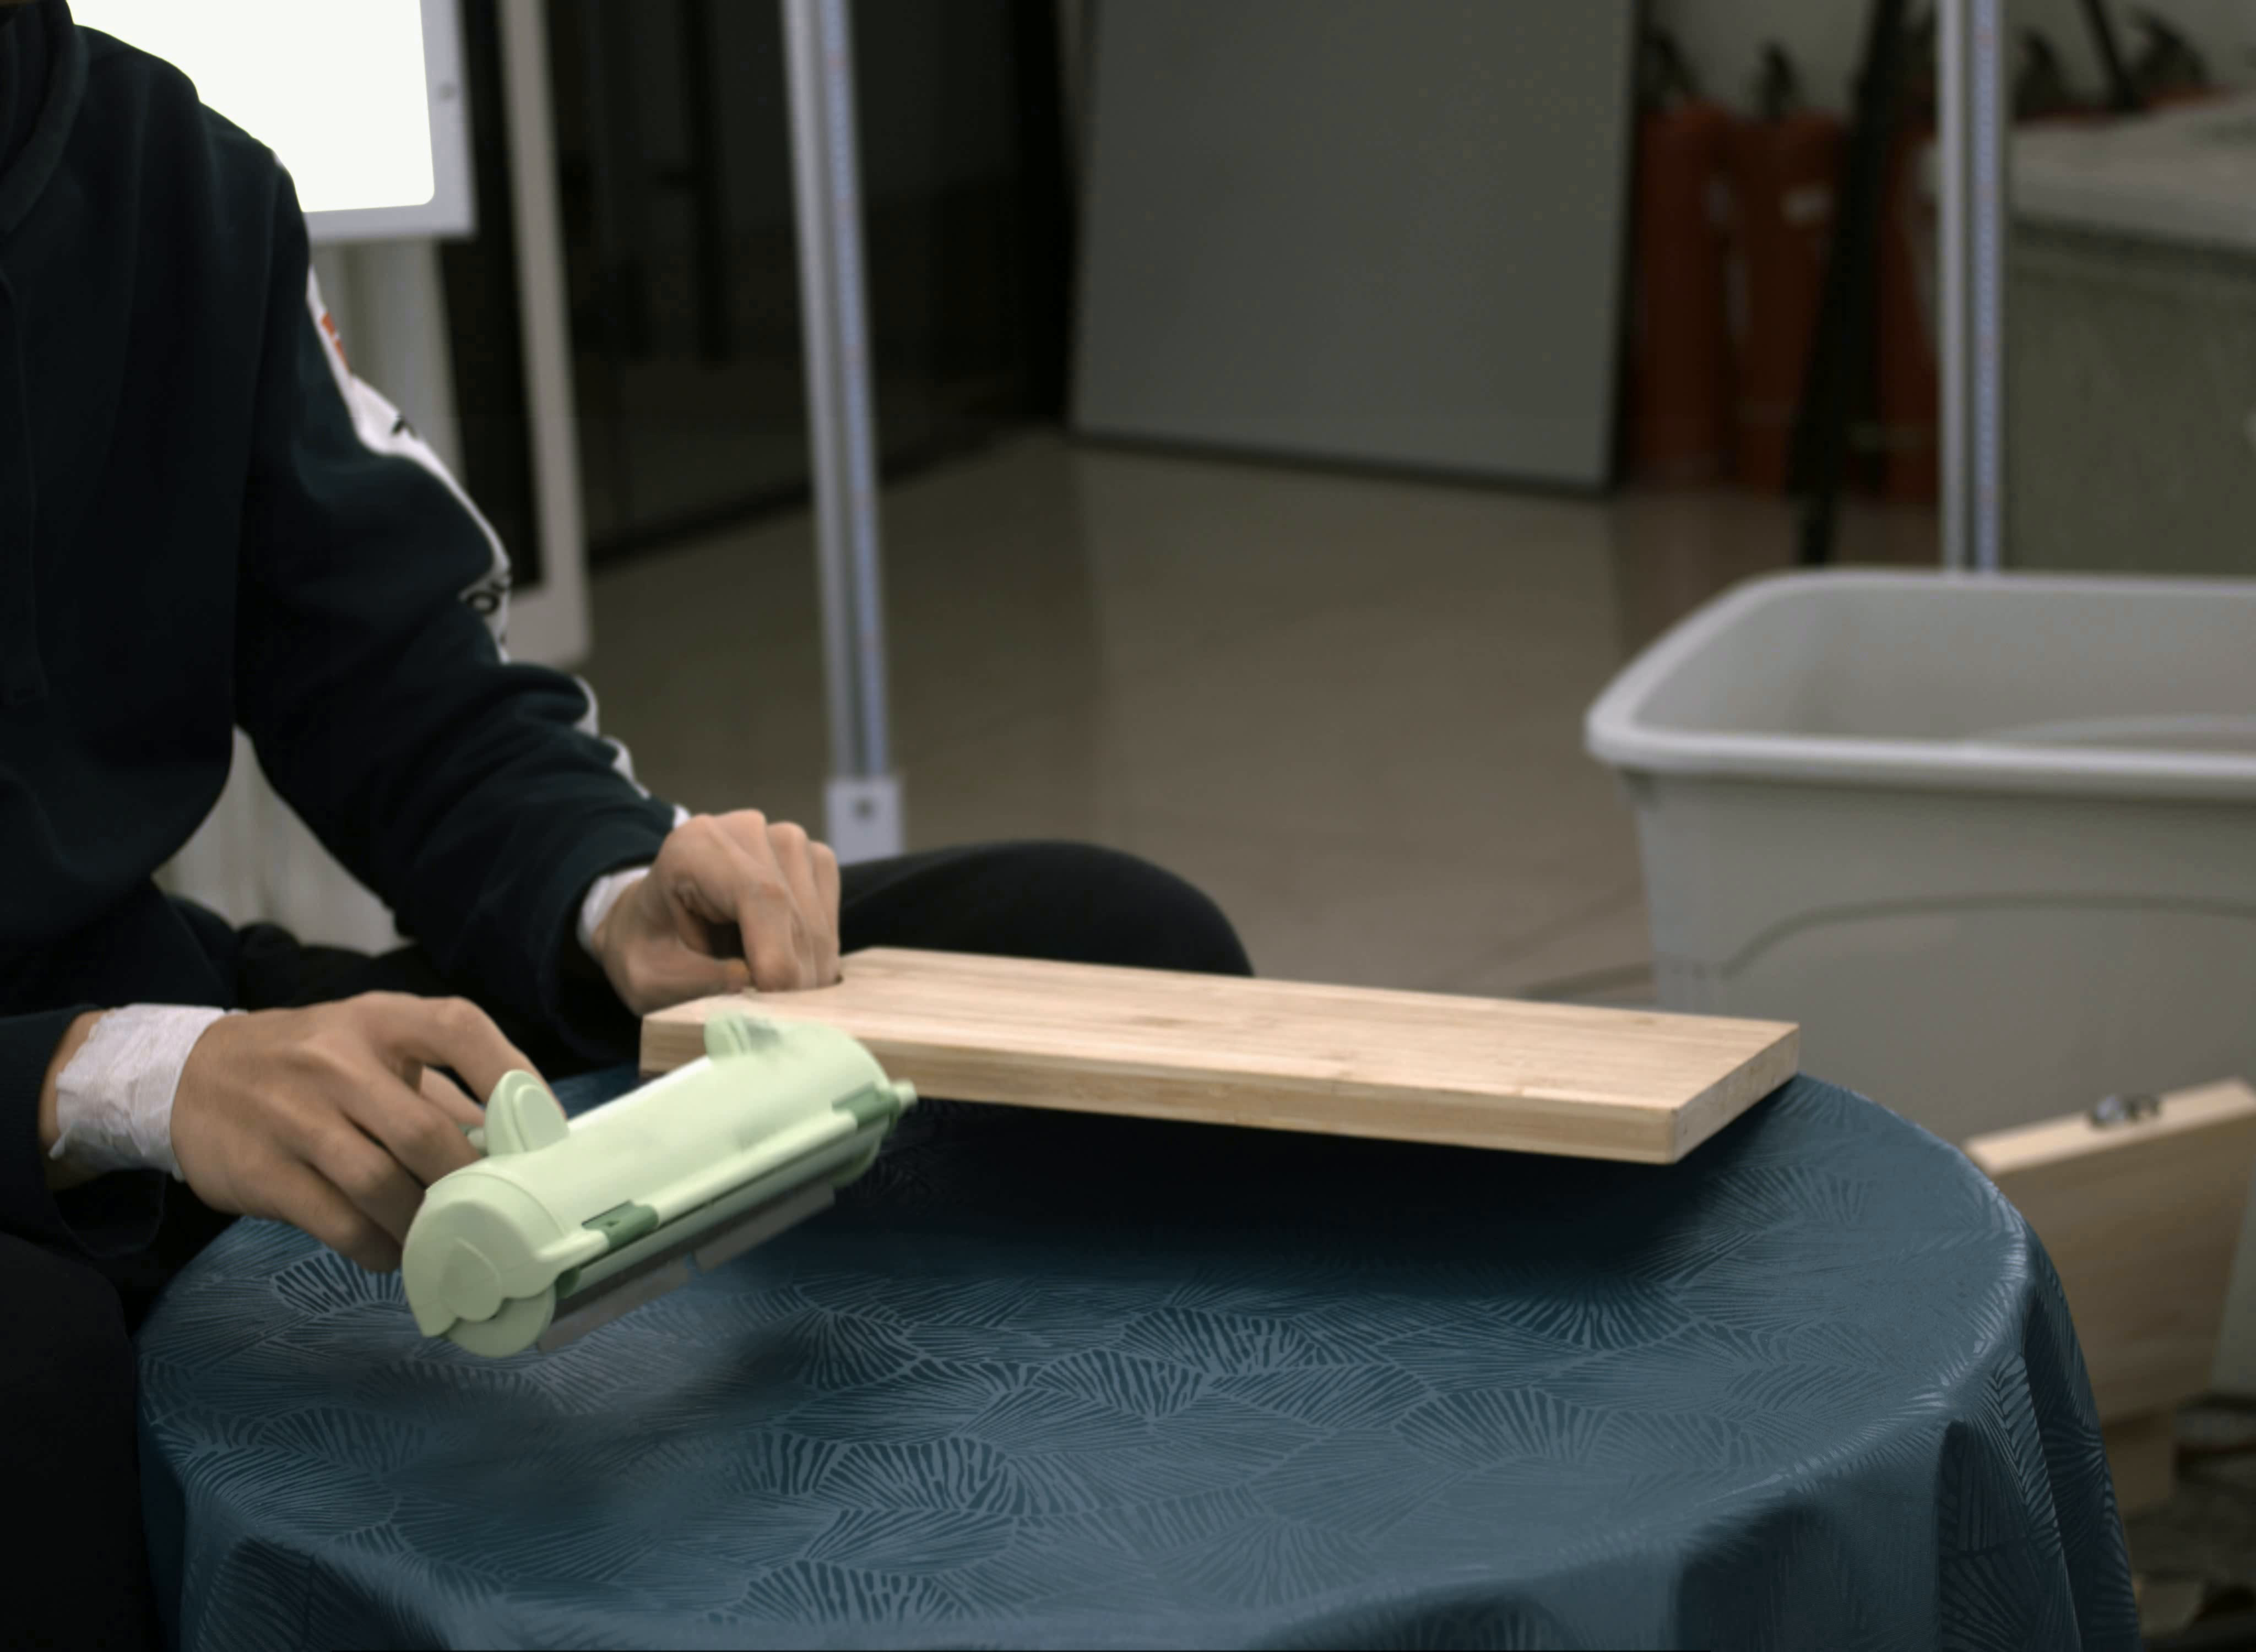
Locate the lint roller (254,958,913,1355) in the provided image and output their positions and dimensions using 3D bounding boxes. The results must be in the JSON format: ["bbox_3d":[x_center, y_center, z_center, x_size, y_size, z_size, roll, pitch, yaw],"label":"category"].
[{"bbox_3d":[-0.186,0.087,1.609,0.184,0.083,0.195,8,17,28],"label":"lint roller"}]

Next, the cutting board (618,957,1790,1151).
[{"bbox_3d":[0.032,0.074,1.790,0.347,0.024,0.248,4,4,16],"label":"cutting board"}]
